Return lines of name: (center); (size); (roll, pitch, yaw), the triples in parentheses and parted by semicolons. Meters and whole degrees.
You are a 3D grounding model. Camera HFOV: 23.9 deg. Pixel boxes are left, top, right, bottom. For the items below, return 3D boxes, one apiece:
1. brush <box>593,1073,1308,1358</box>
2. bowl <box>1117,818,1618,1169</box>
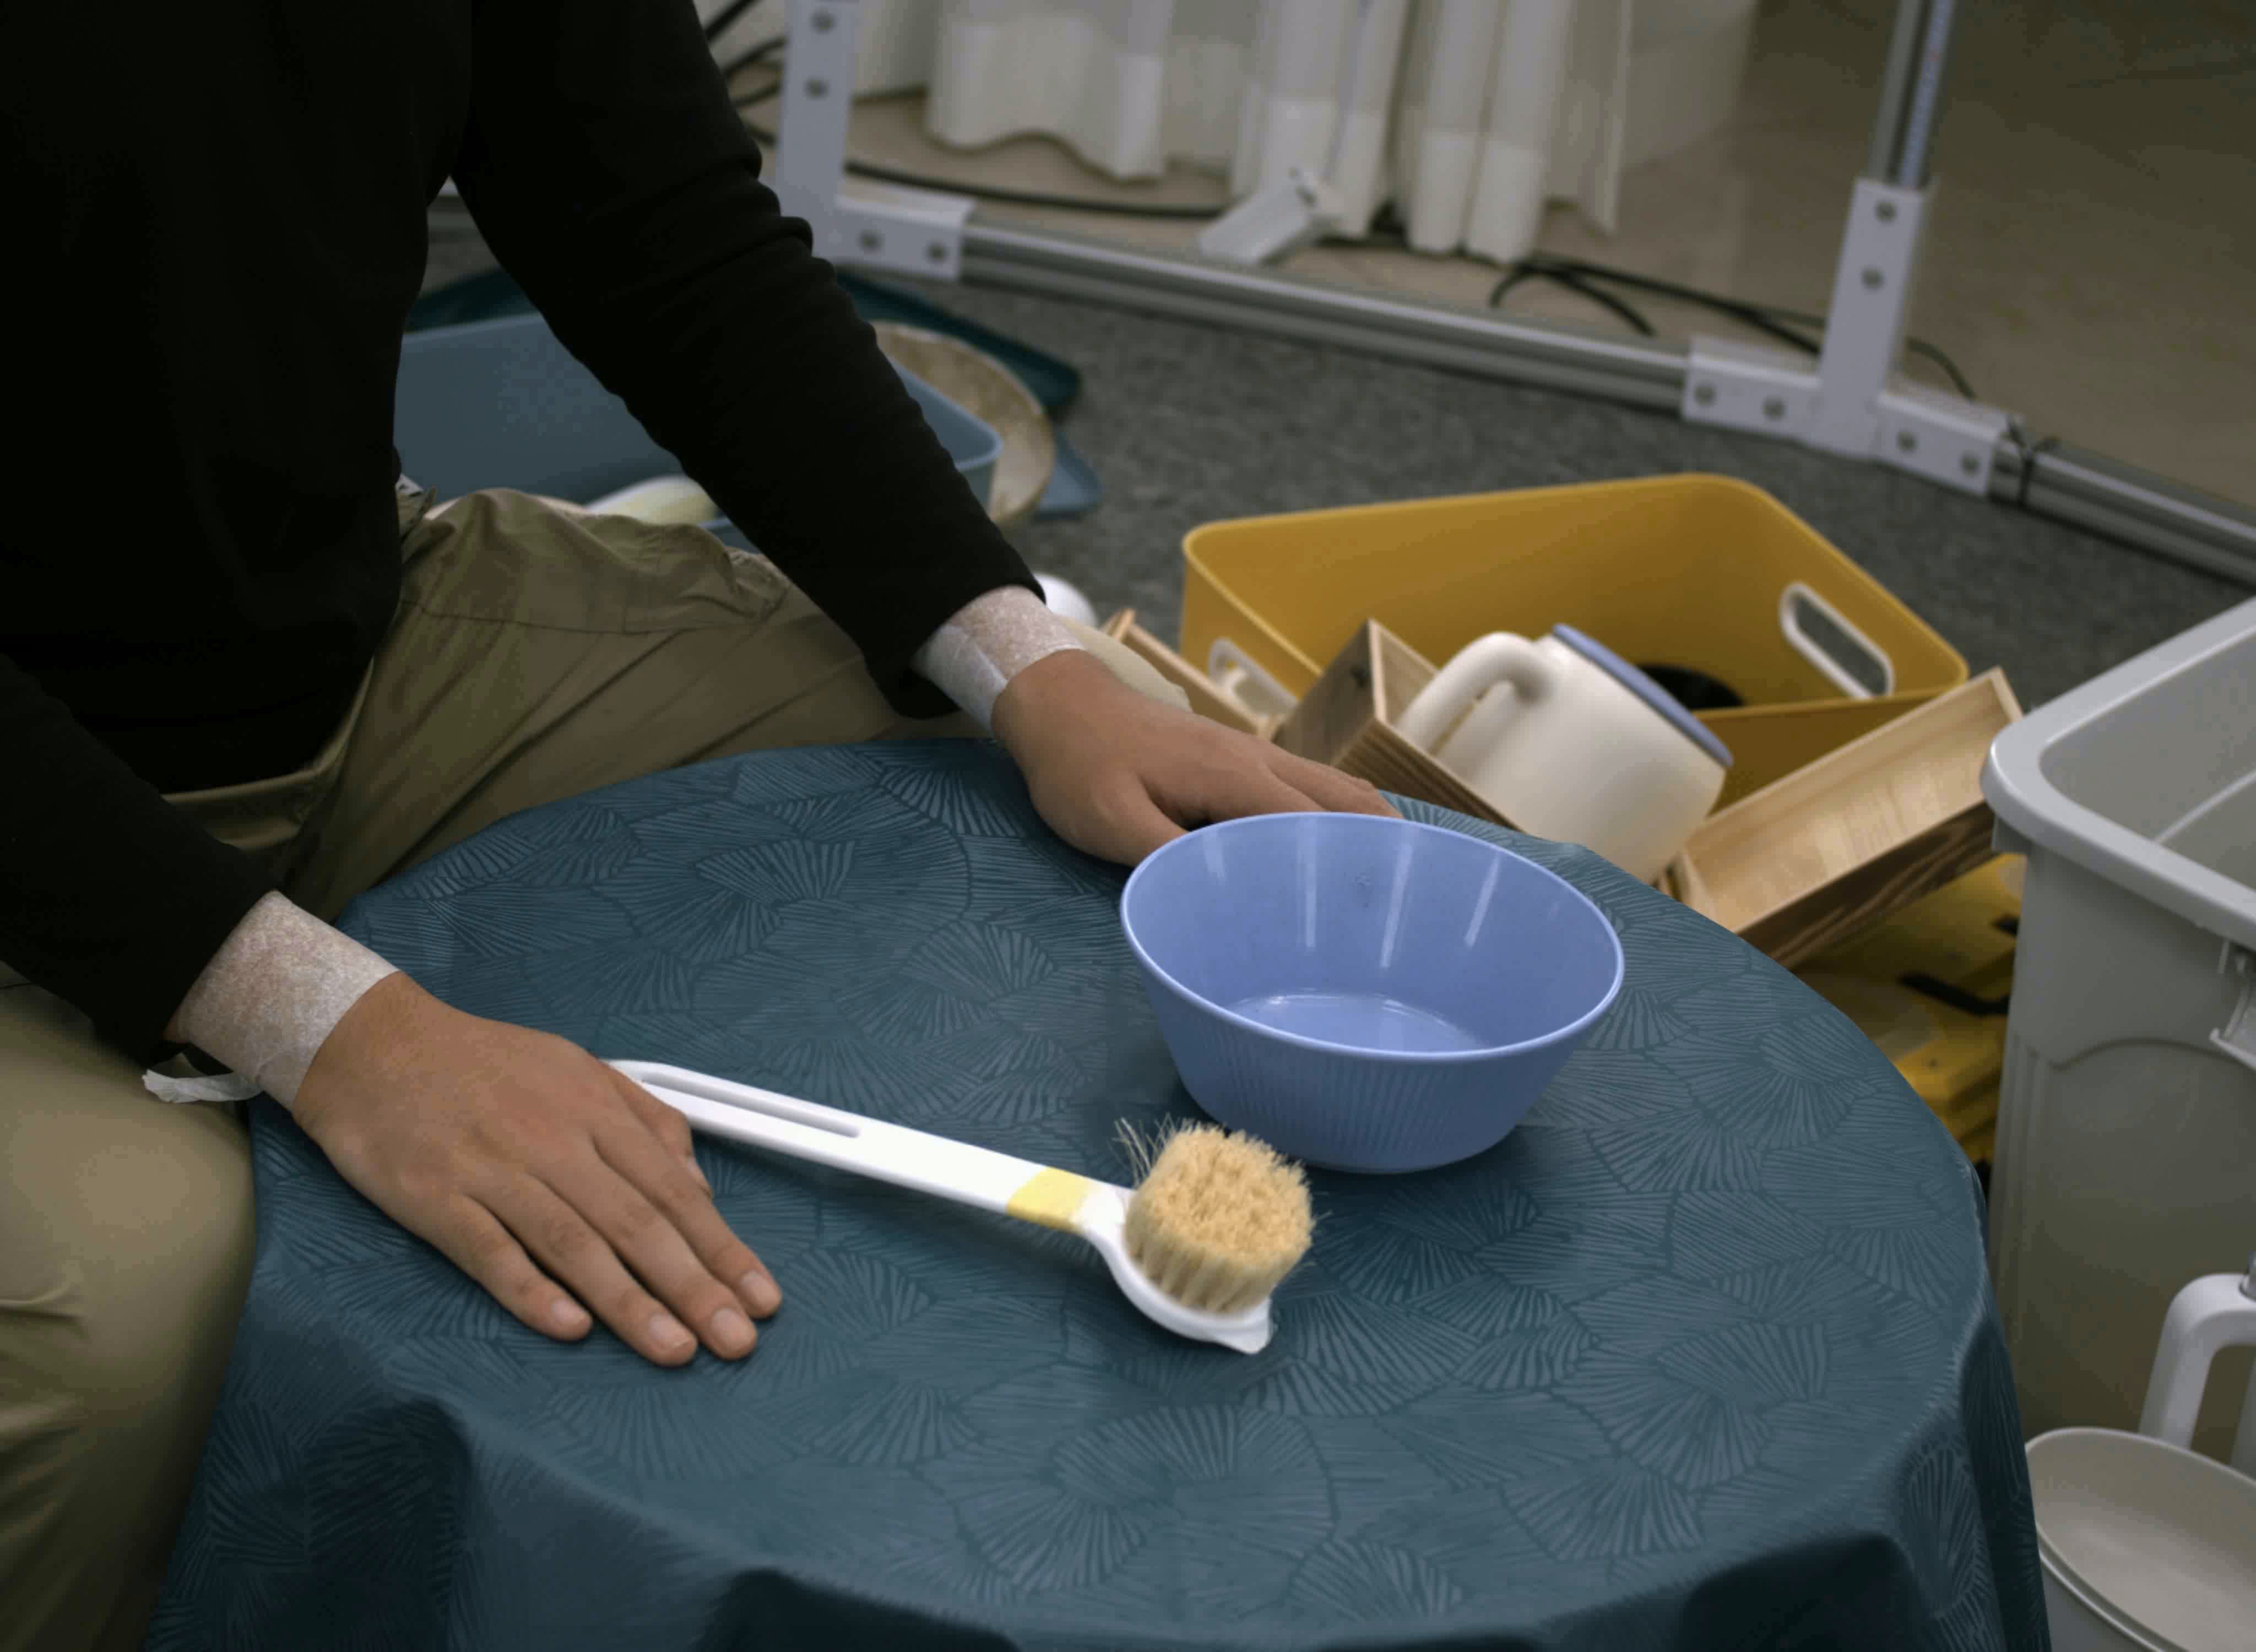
brush: (-0.063, 0.107, 1.762); (0.268, 0.056, 0.068); (19, 24, 24)
bowl: (0.080, 0.064, 1.857); (0.175, 0.070, 0.177); (5, 26, -3)
